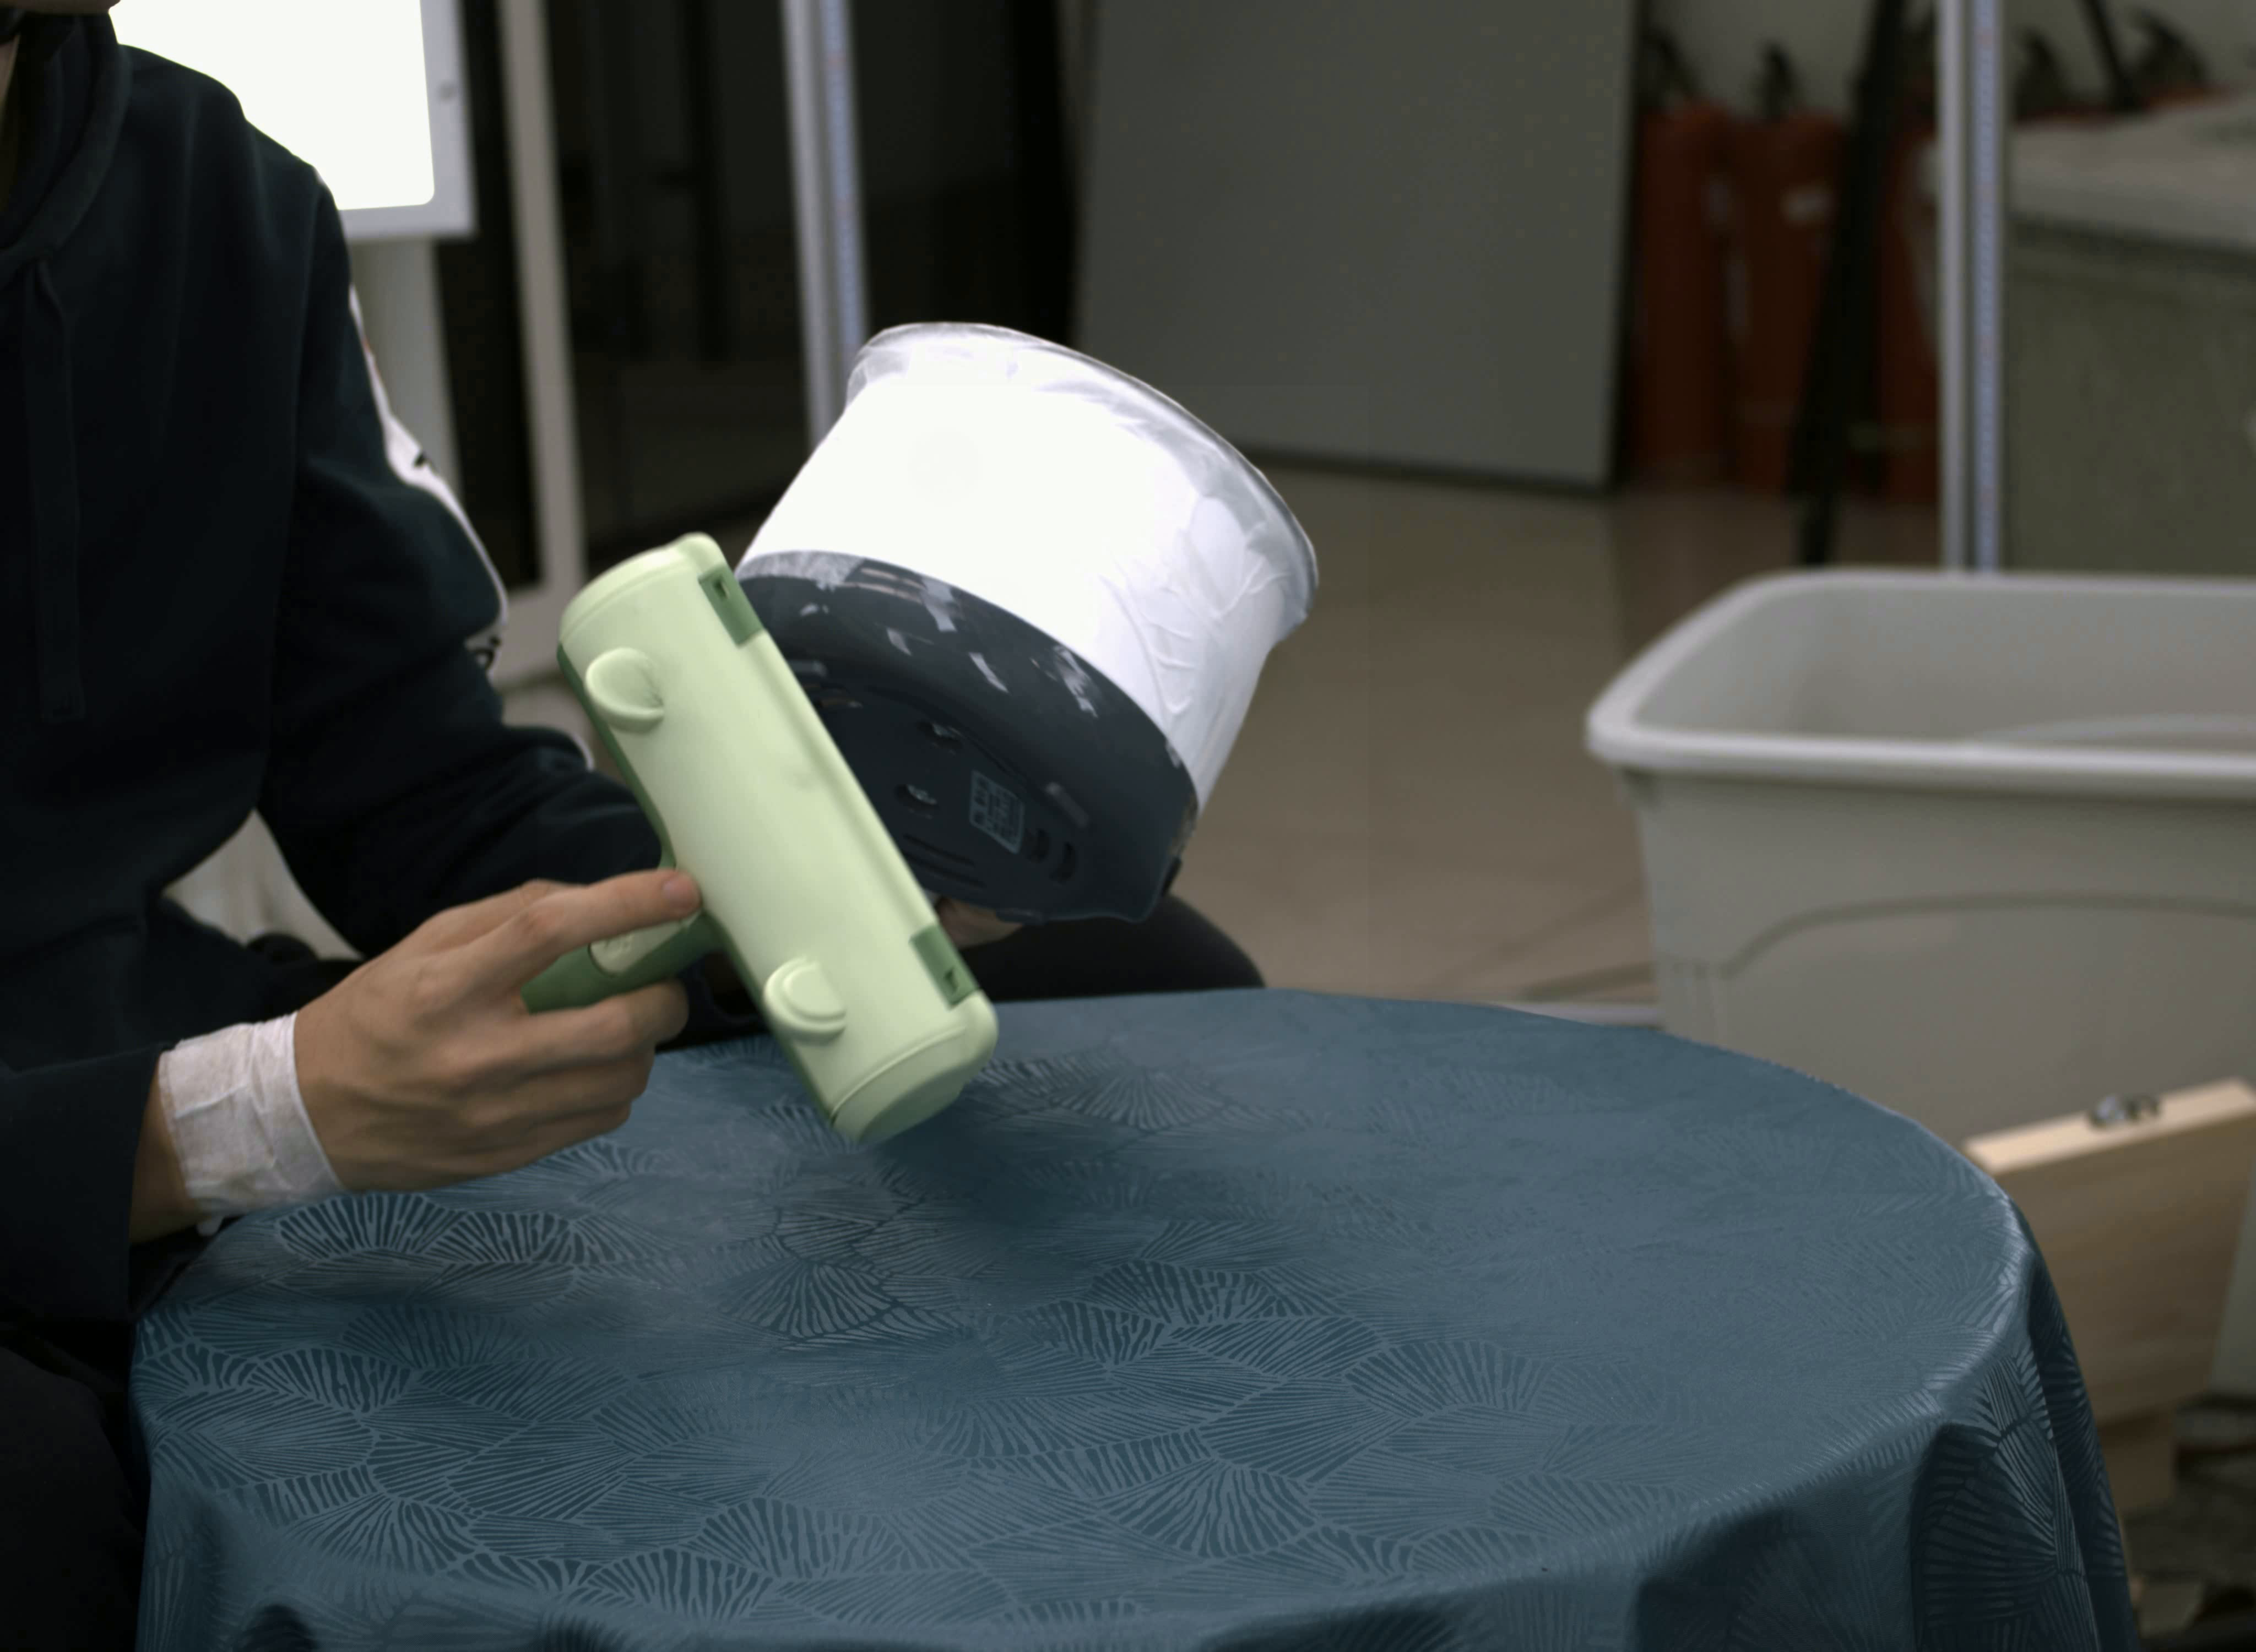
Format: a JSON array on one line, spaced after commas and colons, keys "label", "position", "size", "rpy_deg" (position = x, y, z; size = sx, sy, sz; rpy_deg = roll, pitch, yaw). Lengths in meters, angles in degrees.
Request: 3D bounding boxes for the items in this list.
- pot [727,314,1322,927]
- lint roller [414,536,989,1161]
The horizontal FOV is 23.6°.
[{"label": "pot", "position": [-0.045, -0.053, 1.822], "size": [0.177, 0.137, 0.235], "rpy_deg": [28, -24, 2]}, {"label": "lint roller", "position": [-0.159, 0.037, 1.674], "size": [0.183, 0.201, 0.081], "rpy_deg": [-34, -18, 11]}]
